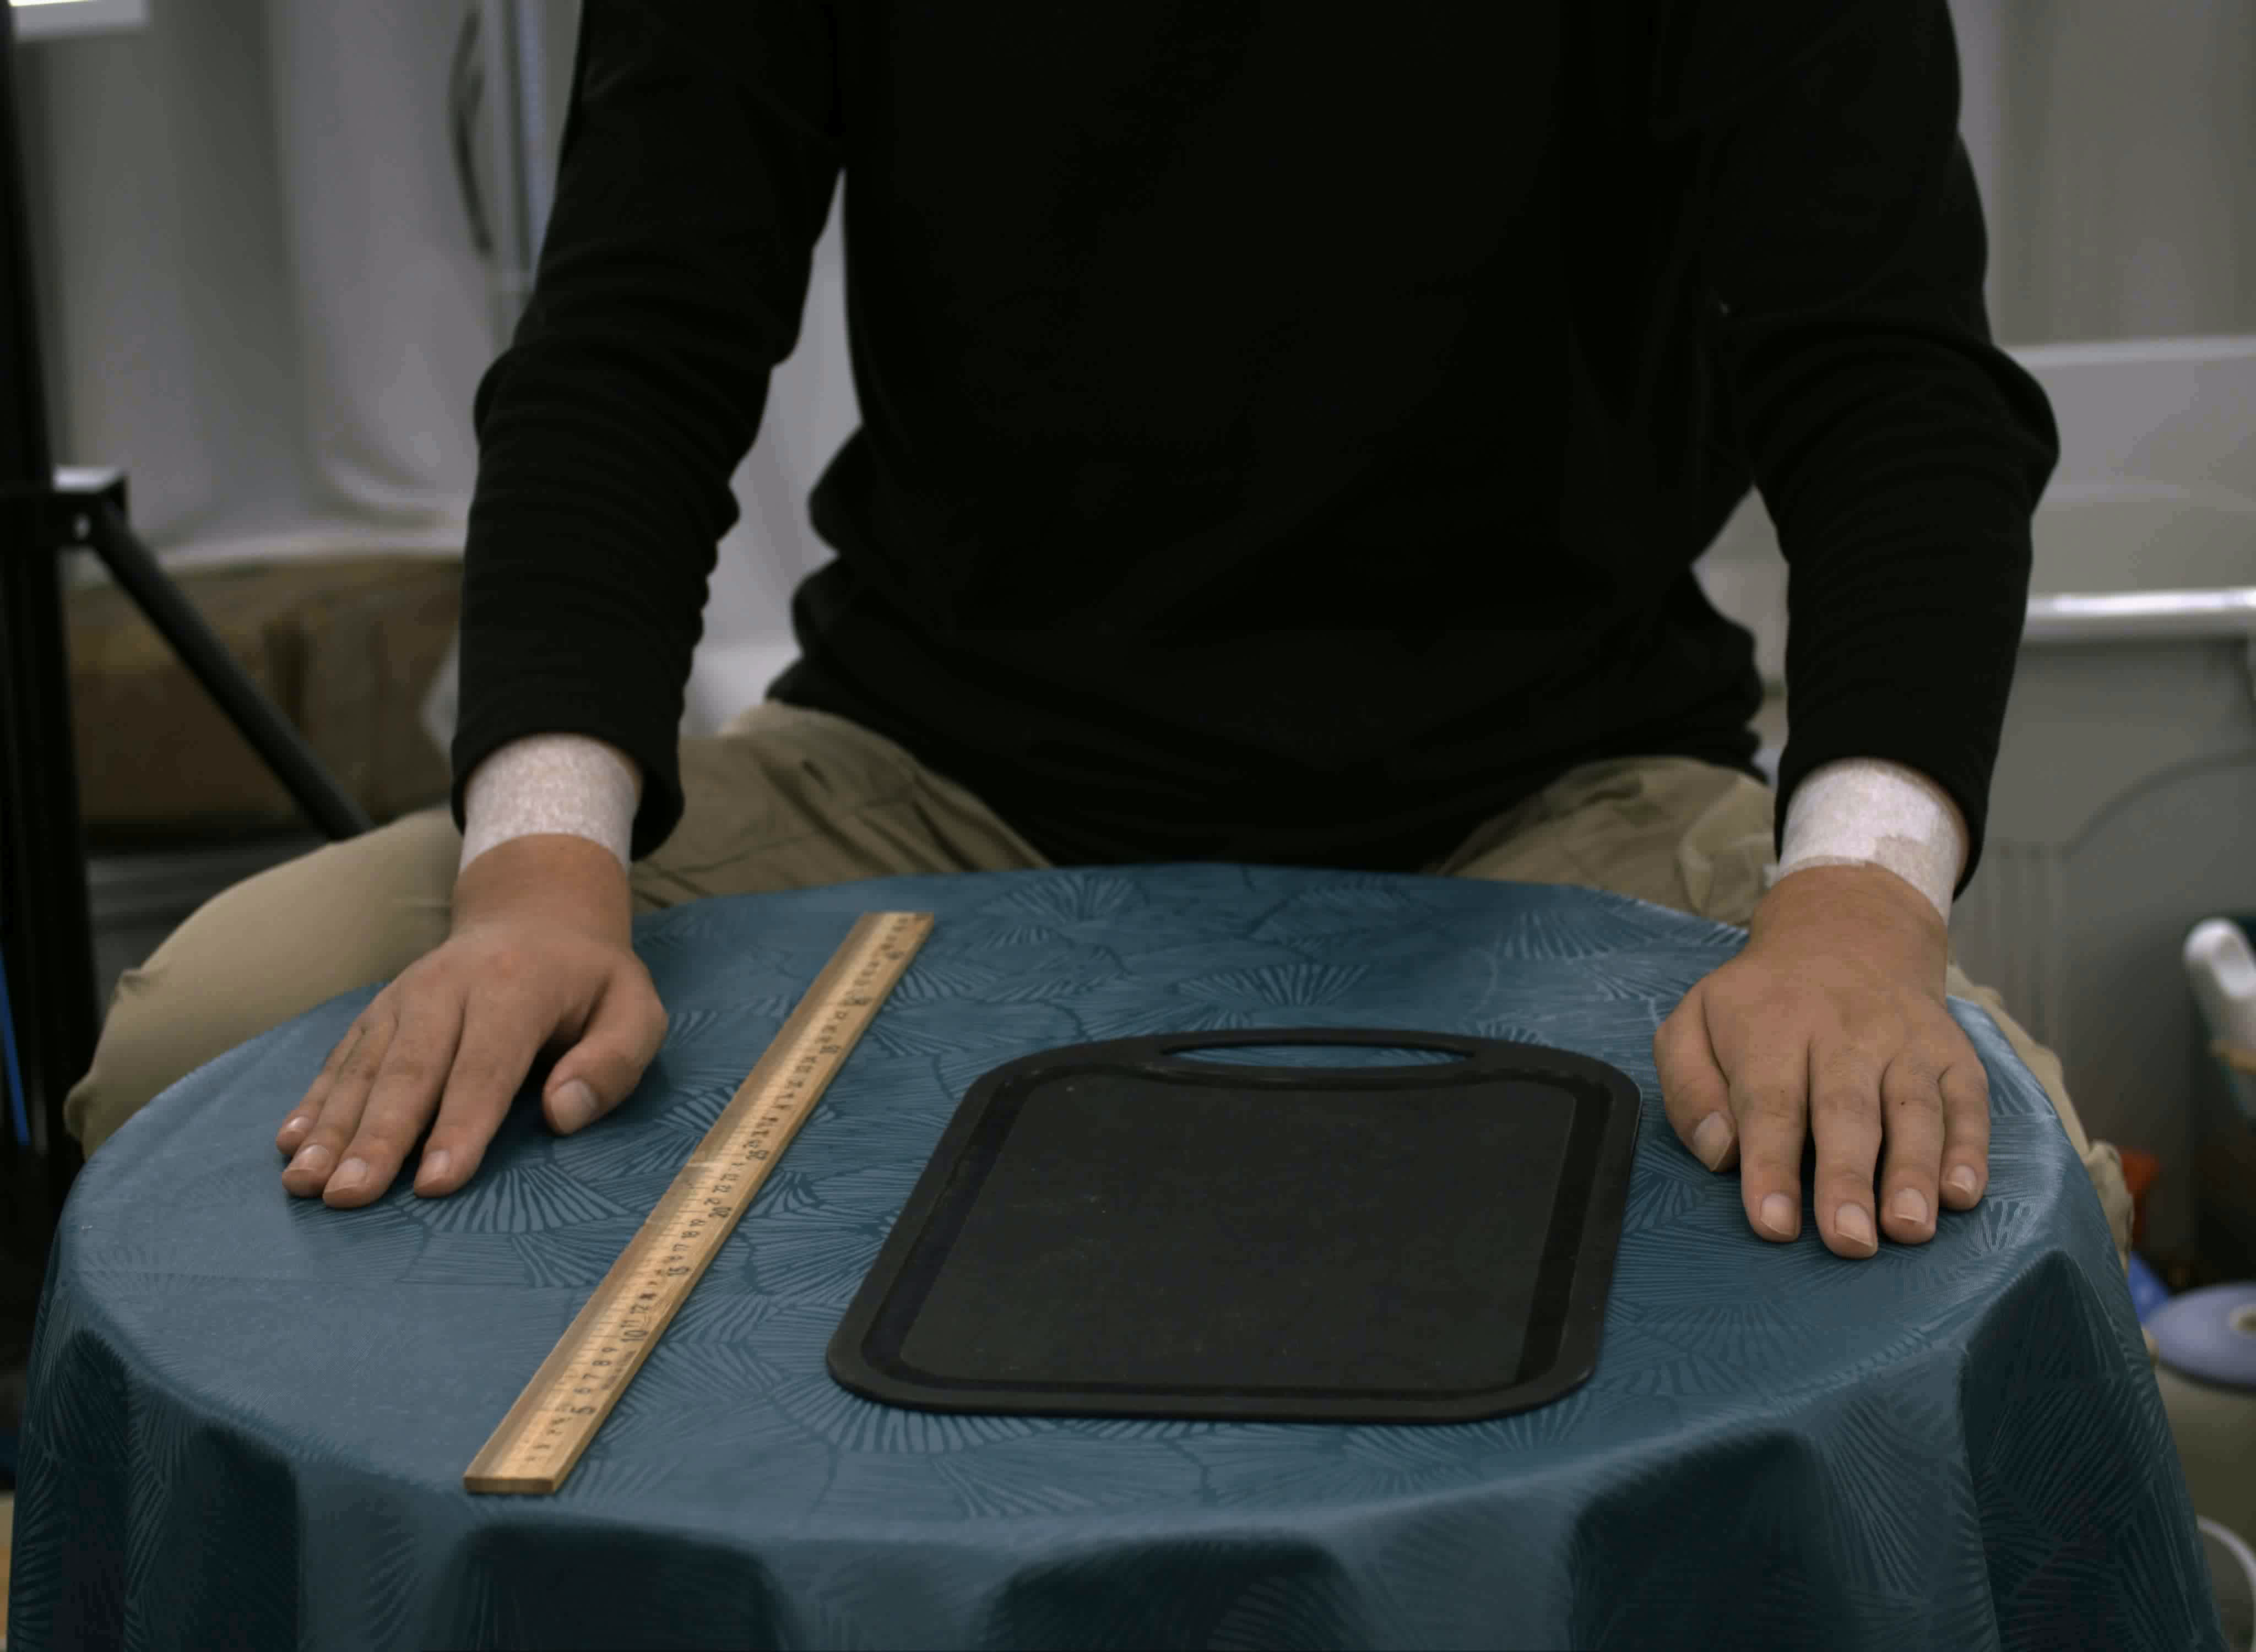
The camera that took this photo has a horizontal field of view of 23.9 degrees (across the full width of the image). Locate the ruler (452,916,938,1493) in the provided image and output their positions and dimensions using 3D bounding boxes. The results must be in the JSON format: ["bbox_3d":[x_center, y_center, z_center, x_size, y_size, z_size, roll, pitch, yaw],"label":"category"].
[{"bbox_3d":[-0.118,0.101,1.593,0.027,0.006,0.498,3,16,9],"label":"ruler"}]

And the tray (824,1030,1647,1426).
[{"bbox_3d":[0.039,0.109,1.535,0.212,0.010,0.324,0,16,10],"label":"tray"}]
